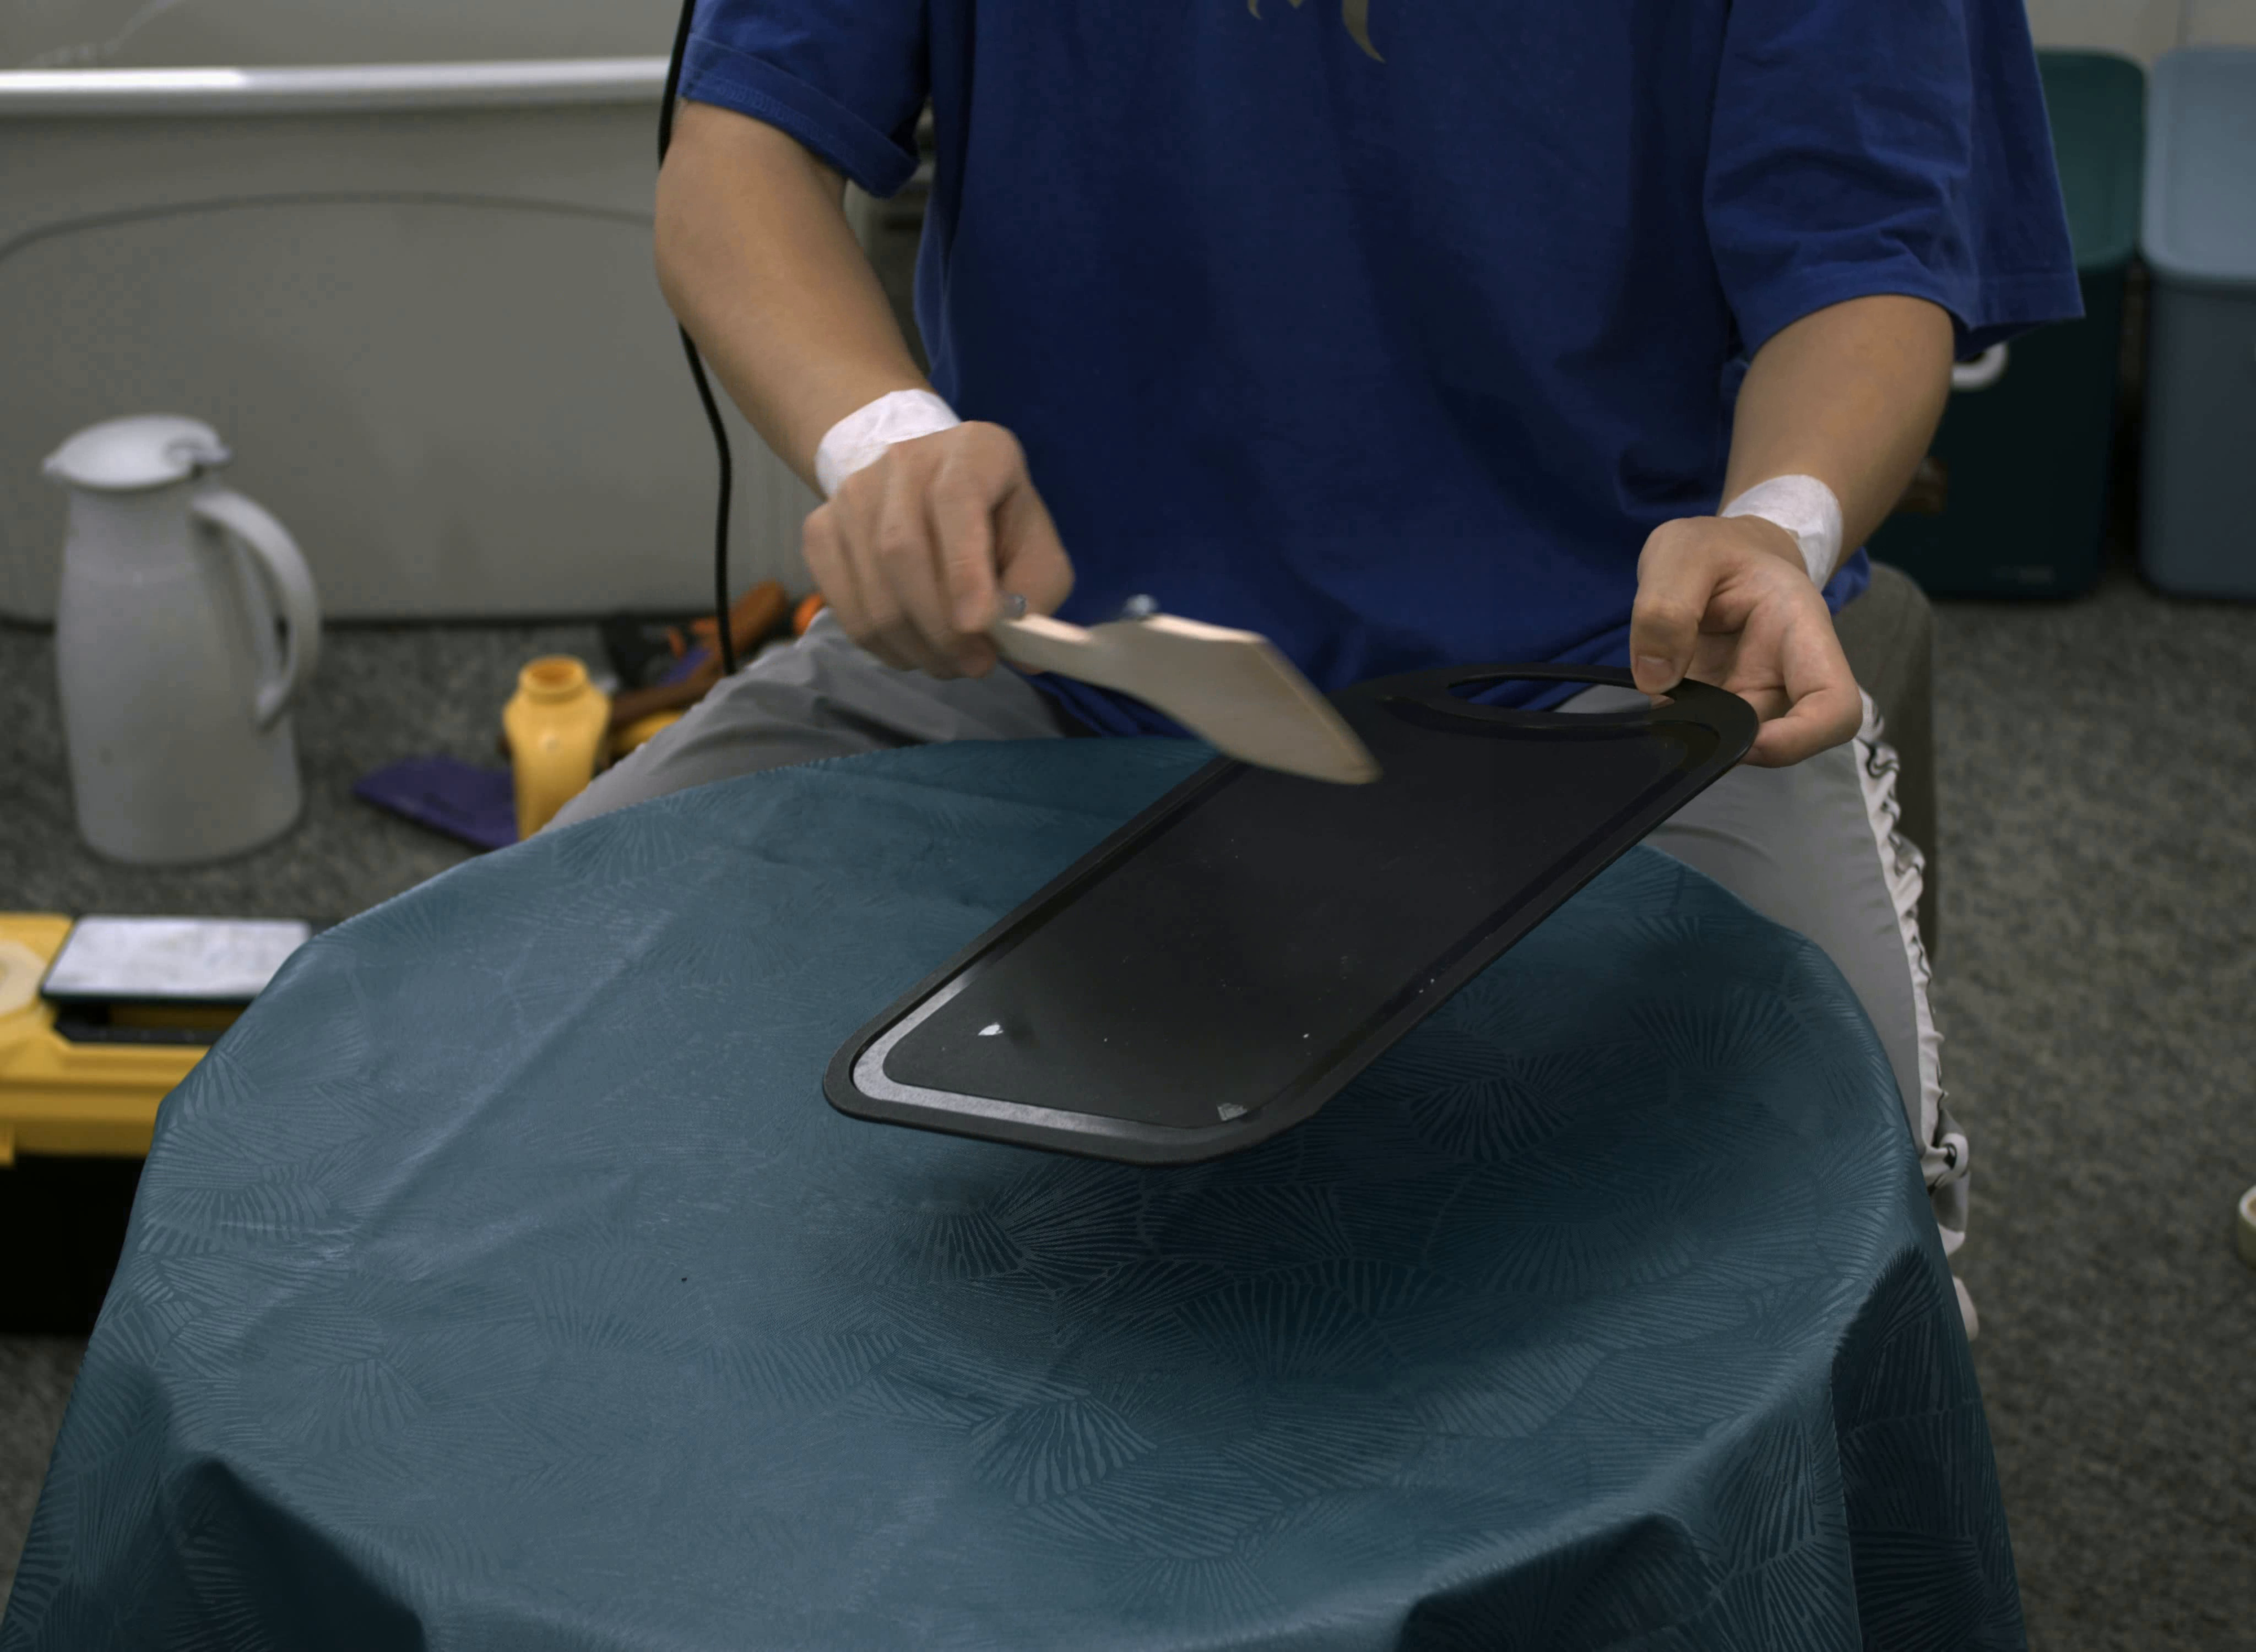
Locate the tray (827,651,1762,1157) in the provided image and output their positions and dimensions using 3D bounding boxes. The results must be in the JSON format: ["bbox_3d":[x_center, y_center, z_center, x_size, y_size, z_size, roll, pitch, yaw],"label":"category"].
[{"bbox_3d":[0.061,0.016,1.850,0.209,0.010,0.330,6,32,44],"label":"tray"}]

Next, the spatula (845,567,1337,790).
[{"bbox_3d":[-0.025,-0.059,1.884,0.011,0.072,0.292,-49,29,-12],"label":"spatula"}]
